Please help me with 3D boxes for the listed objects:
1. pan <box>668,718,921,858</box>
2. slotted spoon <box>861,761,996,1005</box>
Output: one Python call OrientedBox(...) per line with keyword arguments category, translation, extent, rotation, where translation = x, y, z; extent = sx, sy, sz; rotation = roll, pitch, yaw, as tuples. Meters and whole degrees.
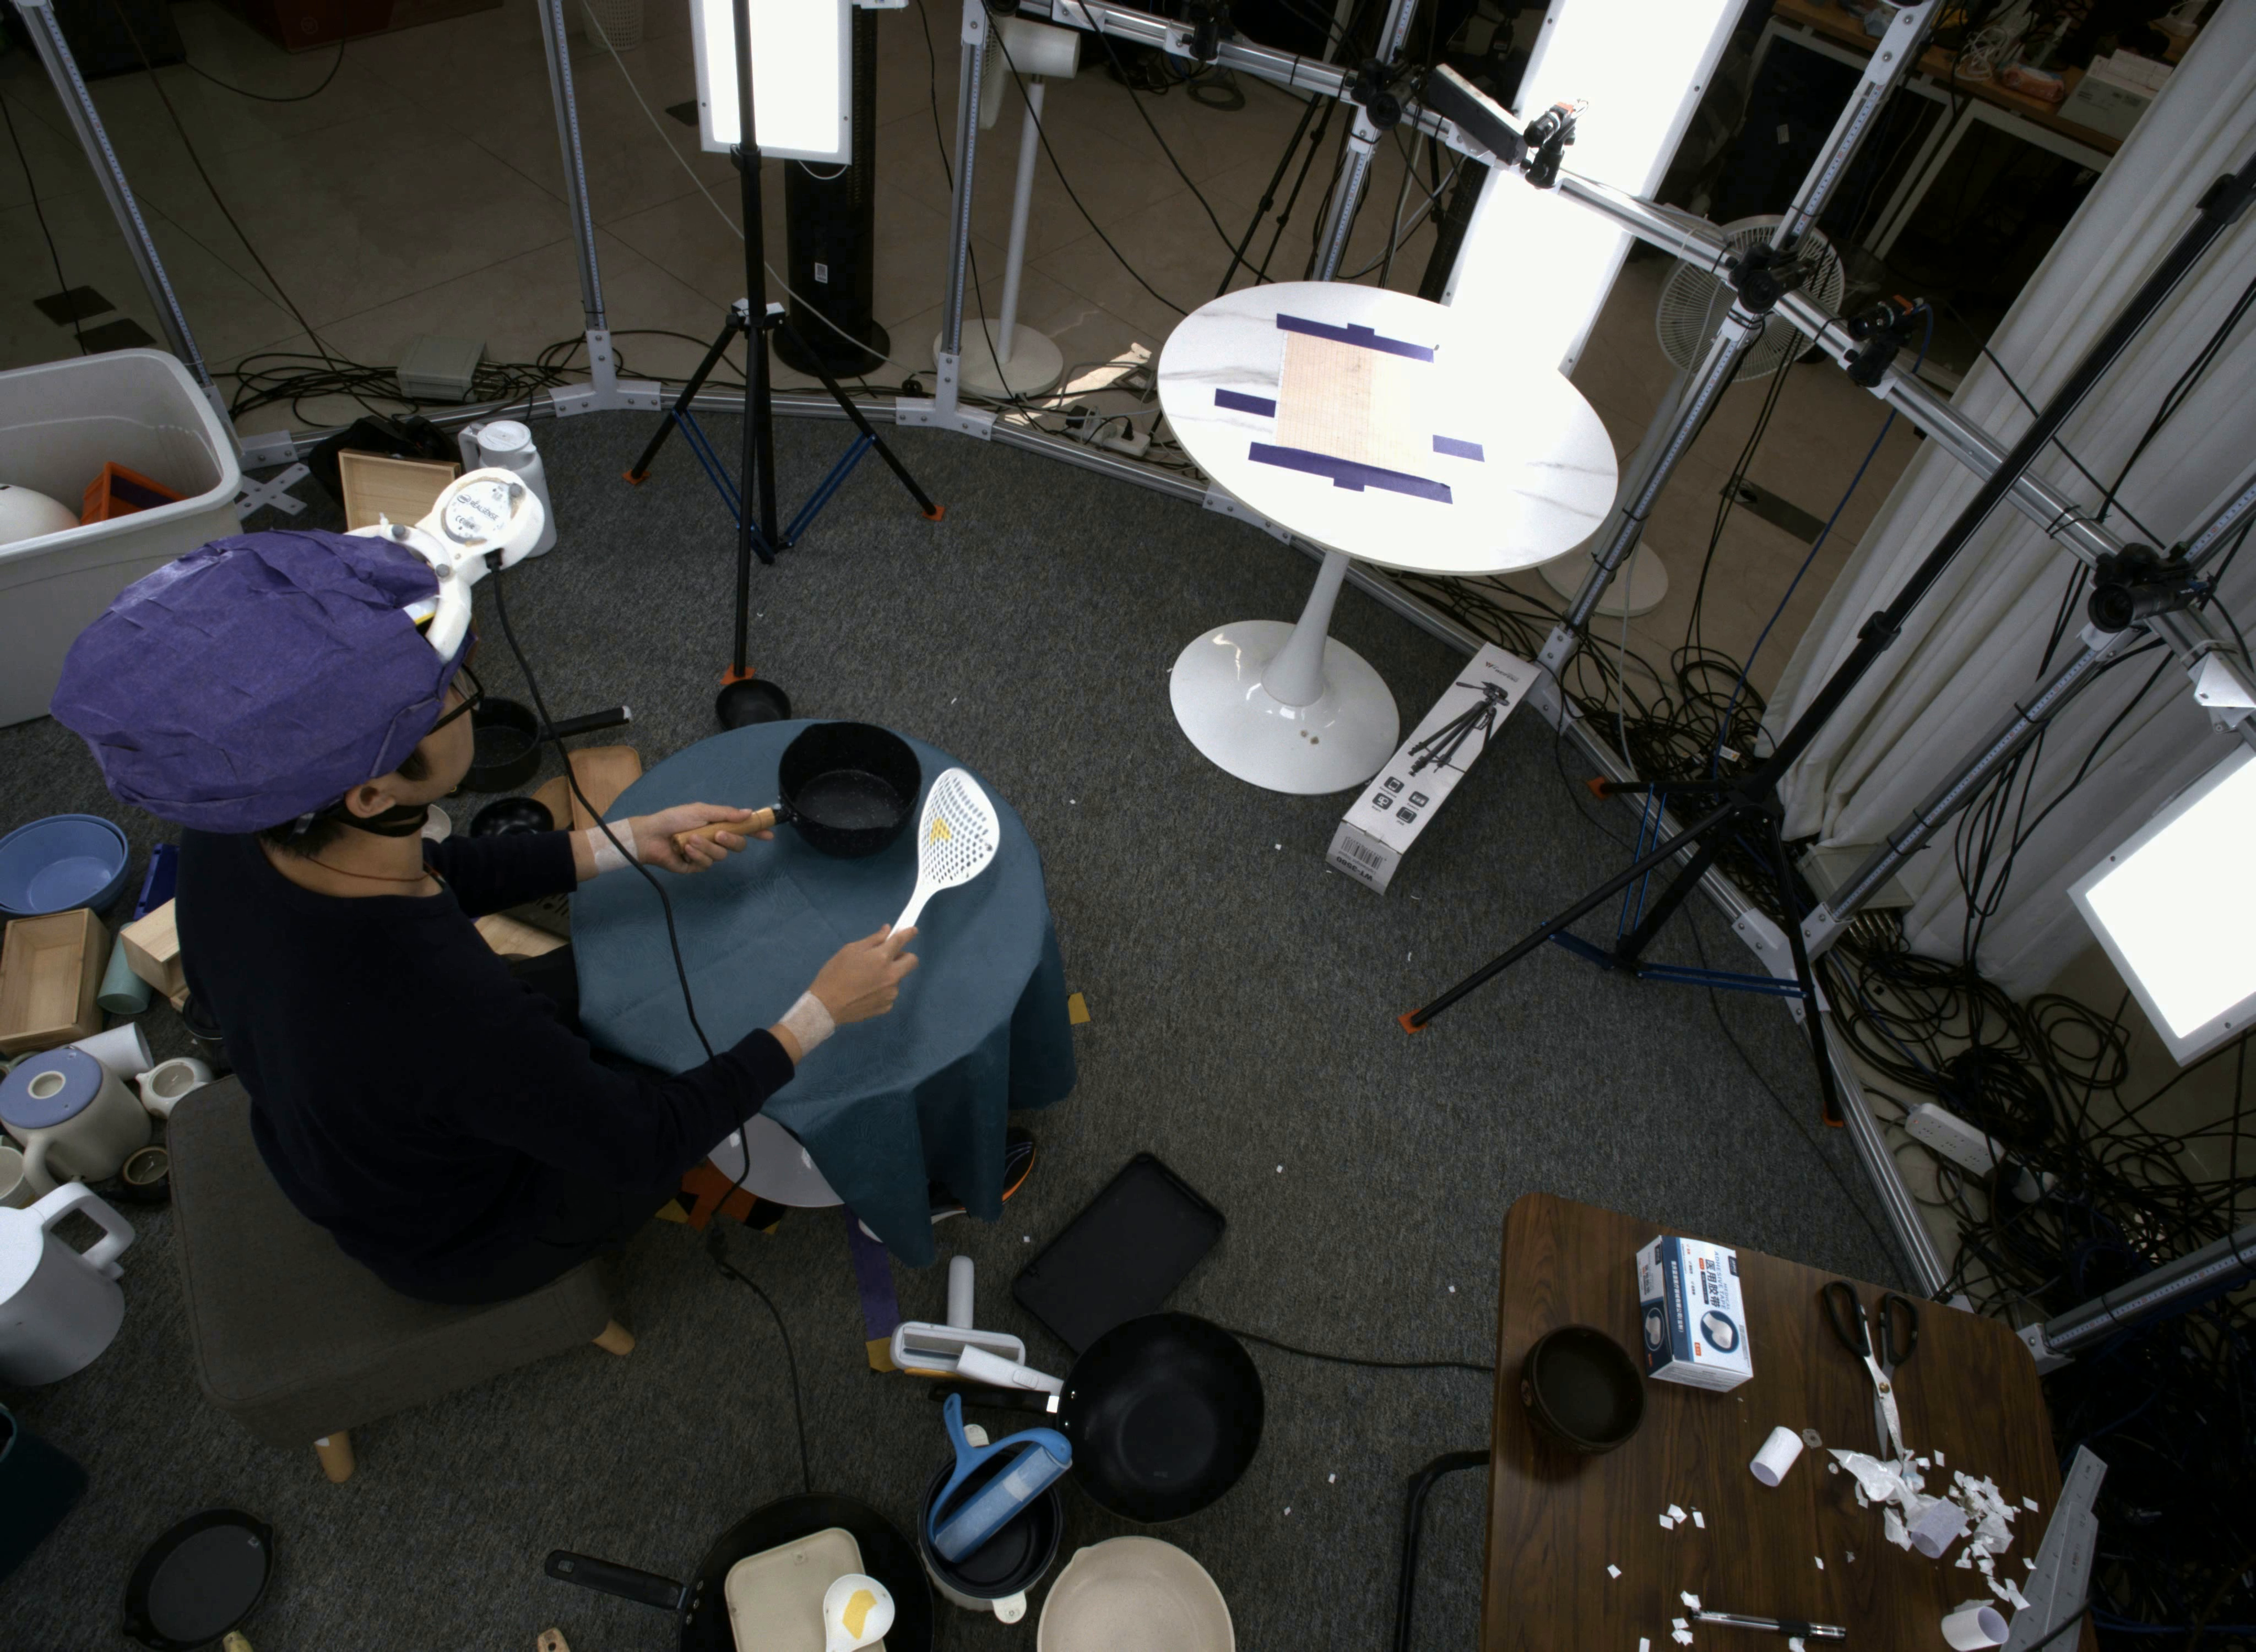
OrientedBox(category="pan", translation=(-0.424, -0.019, 1.653), extent=(0.344, 0.110, 0.203), rotation=(-29, 66, -34))
OrientedBox(category="slotted spoon", translation=(-0.251, 0.068, 1.591), extent=(0.049, 0.142, 0.343), rotation=(-8, 43, 26))
